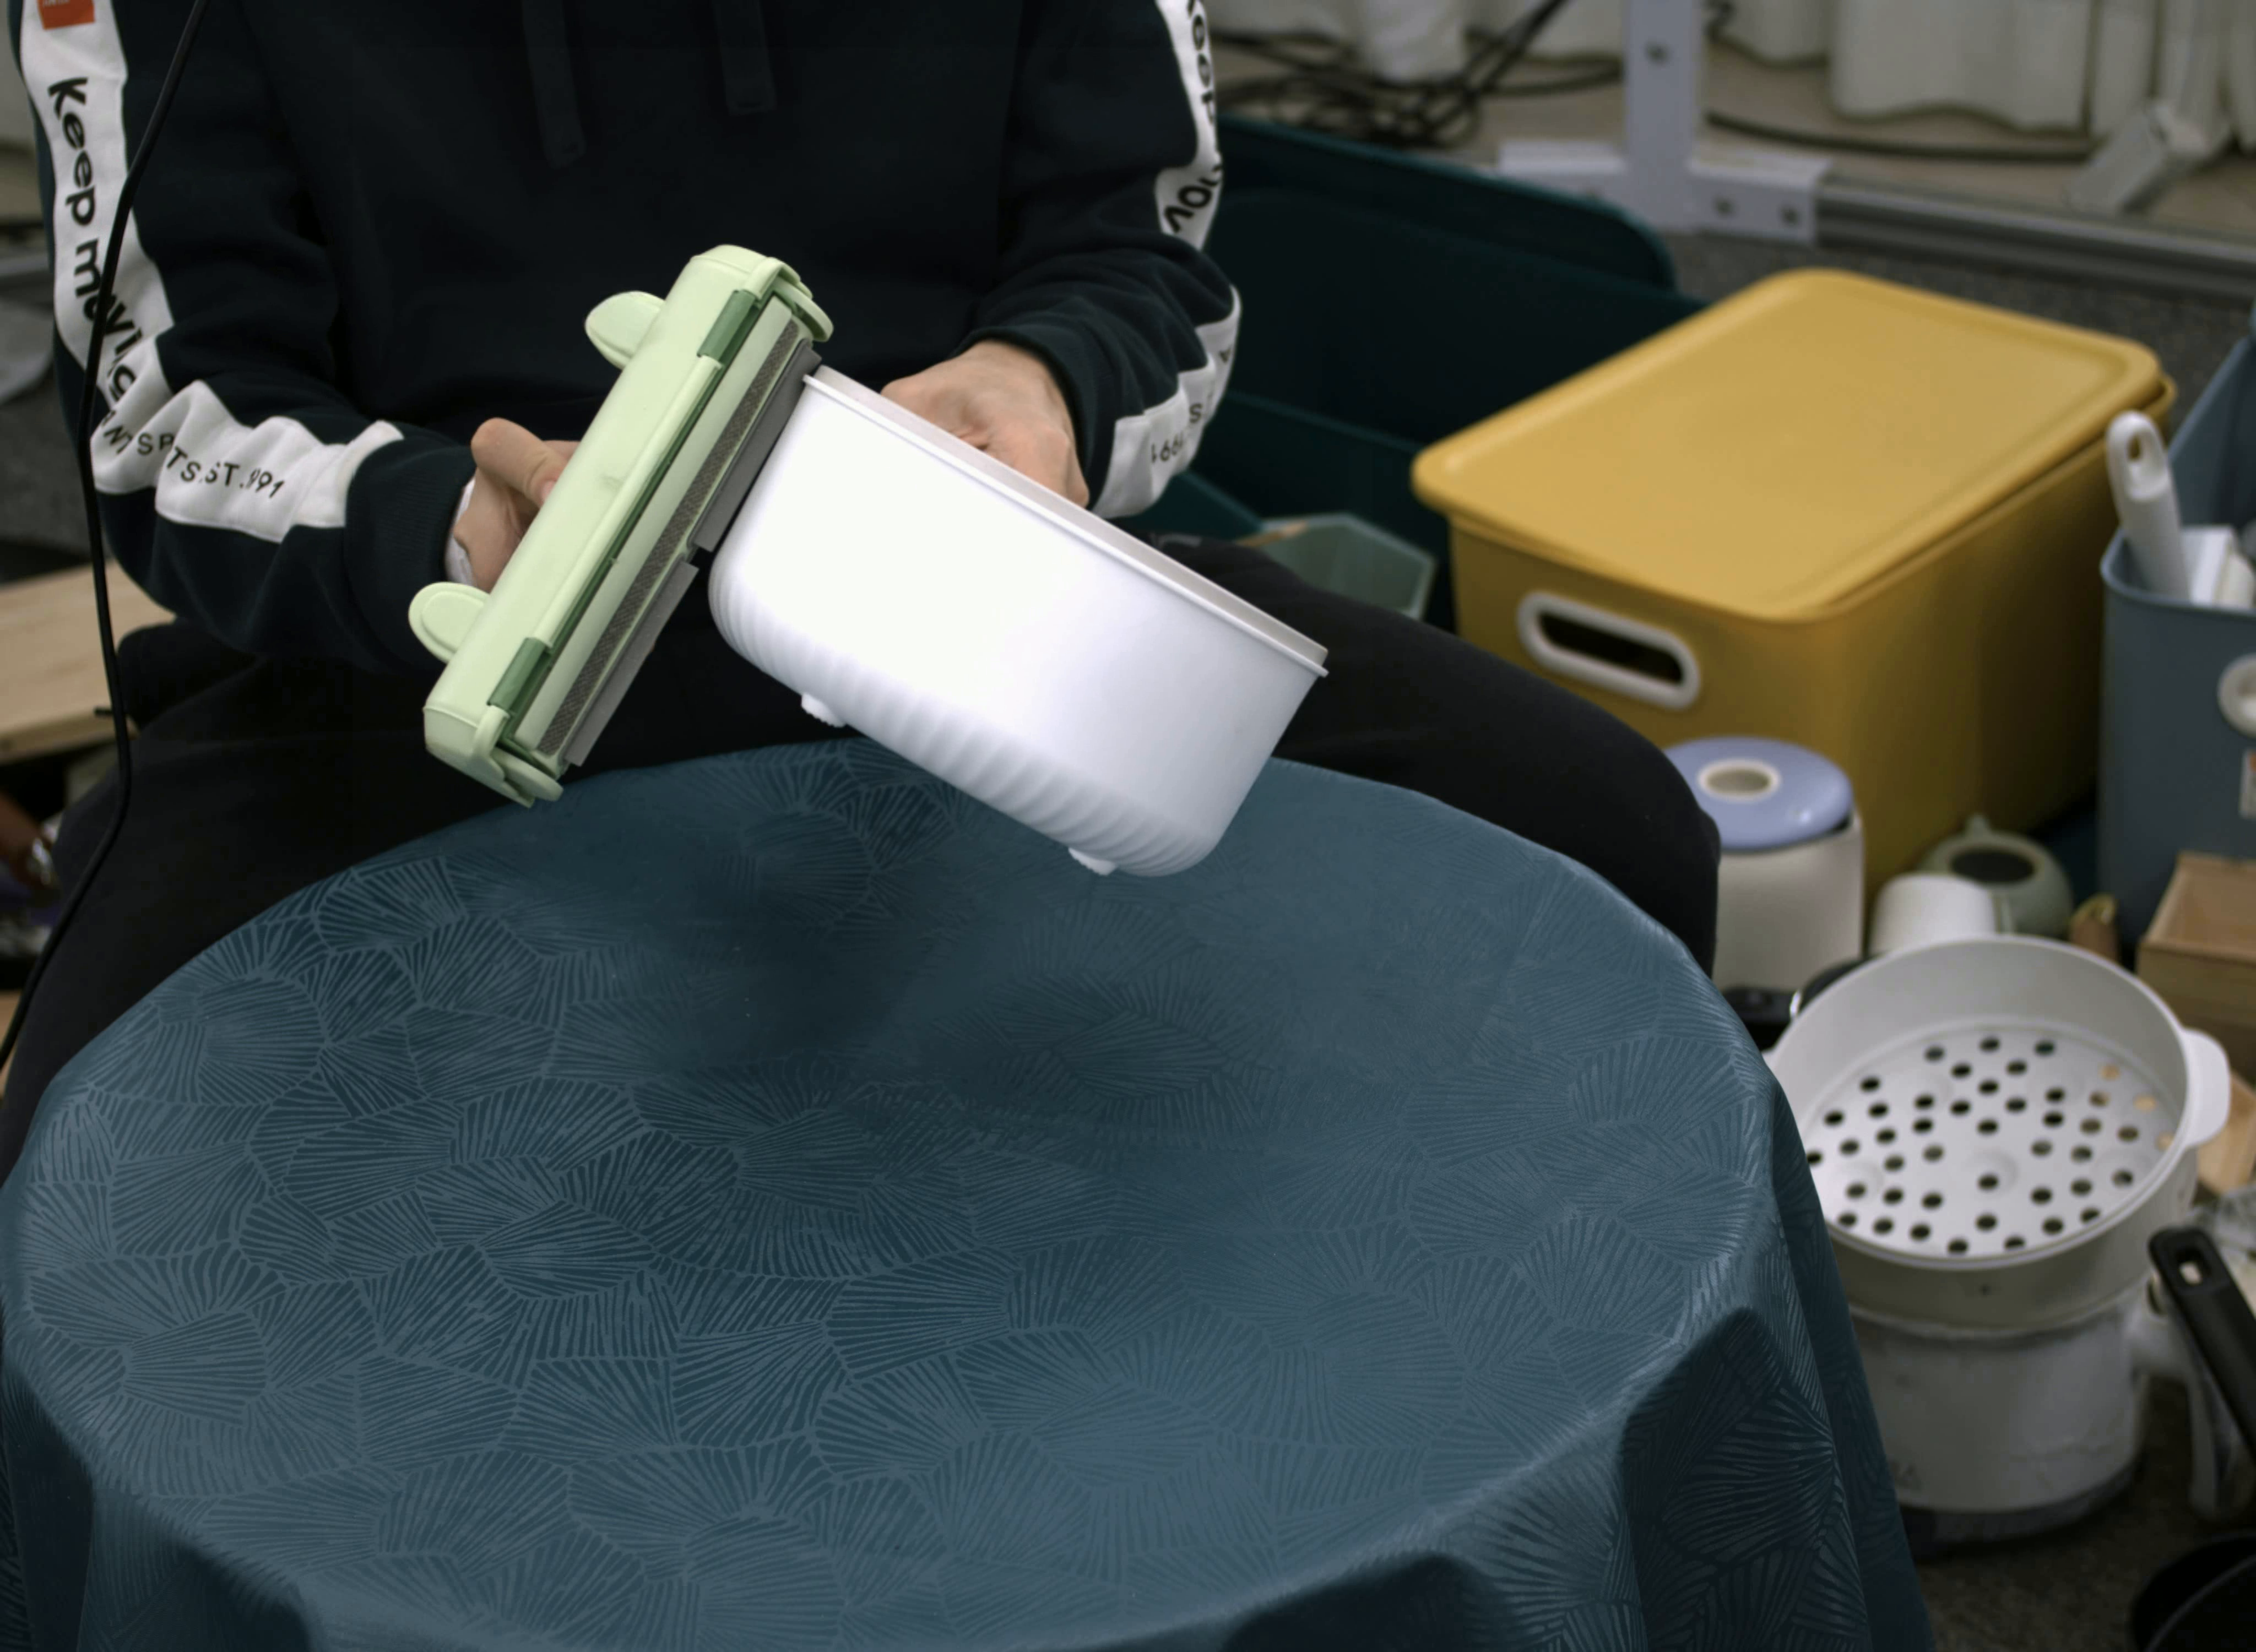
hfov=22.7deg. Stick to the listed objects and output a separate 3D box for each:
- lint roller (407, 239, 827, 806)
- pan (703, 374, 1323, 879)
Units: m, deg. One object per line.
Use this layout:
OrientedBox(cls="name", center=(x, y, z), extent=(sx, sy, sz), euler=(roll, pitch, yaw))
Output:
OrientedBox(cls="lint roller", center=(-0.189, -0.103, 1.917), extent=(0.082, 0.200, 0.182), euler=(33, -12, -15))
OrientedBox(cls="pan", center=(-0.060, -0.071, 1.951), extent=(0.200, 0.102, 0.355), euler=(28, 1, -15))
